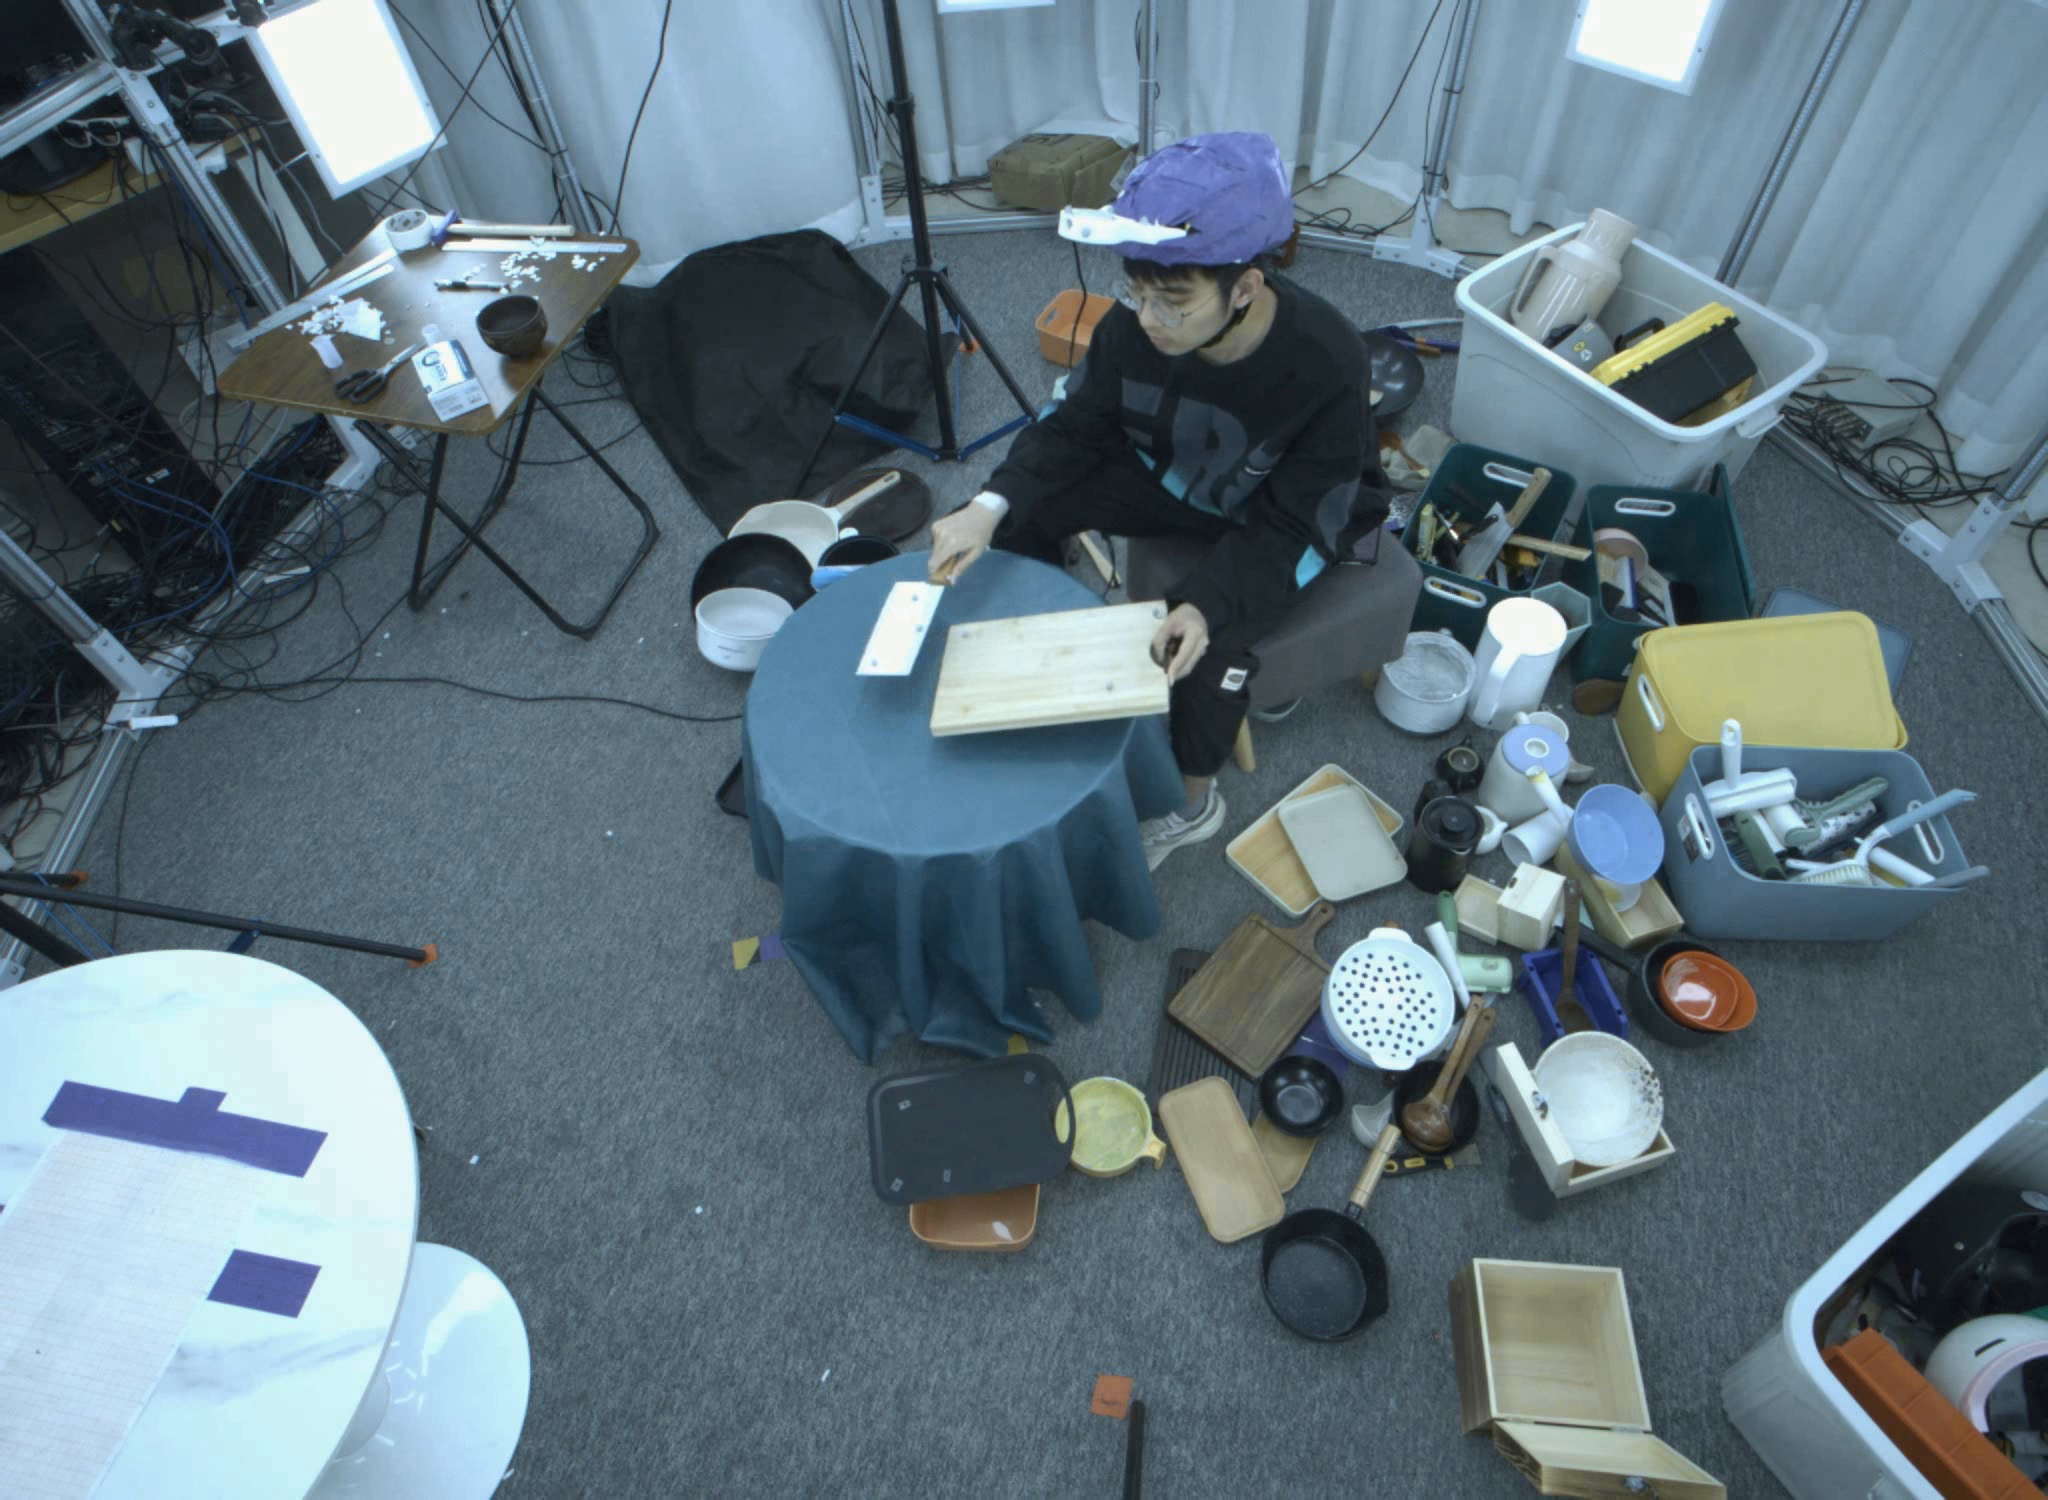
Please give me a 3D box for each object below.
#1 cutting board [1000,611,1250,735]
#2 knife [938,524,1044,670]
[{"bbox_3d":[0.152,-0.115,1.793,0.346,0.024,0.249,-2,43,11],"label":"cutting board"},{"bbox_3d":[-0.052,-0.236,1.863,0.091,0.021,0.305,7,55,23],"label":"knife"}]
